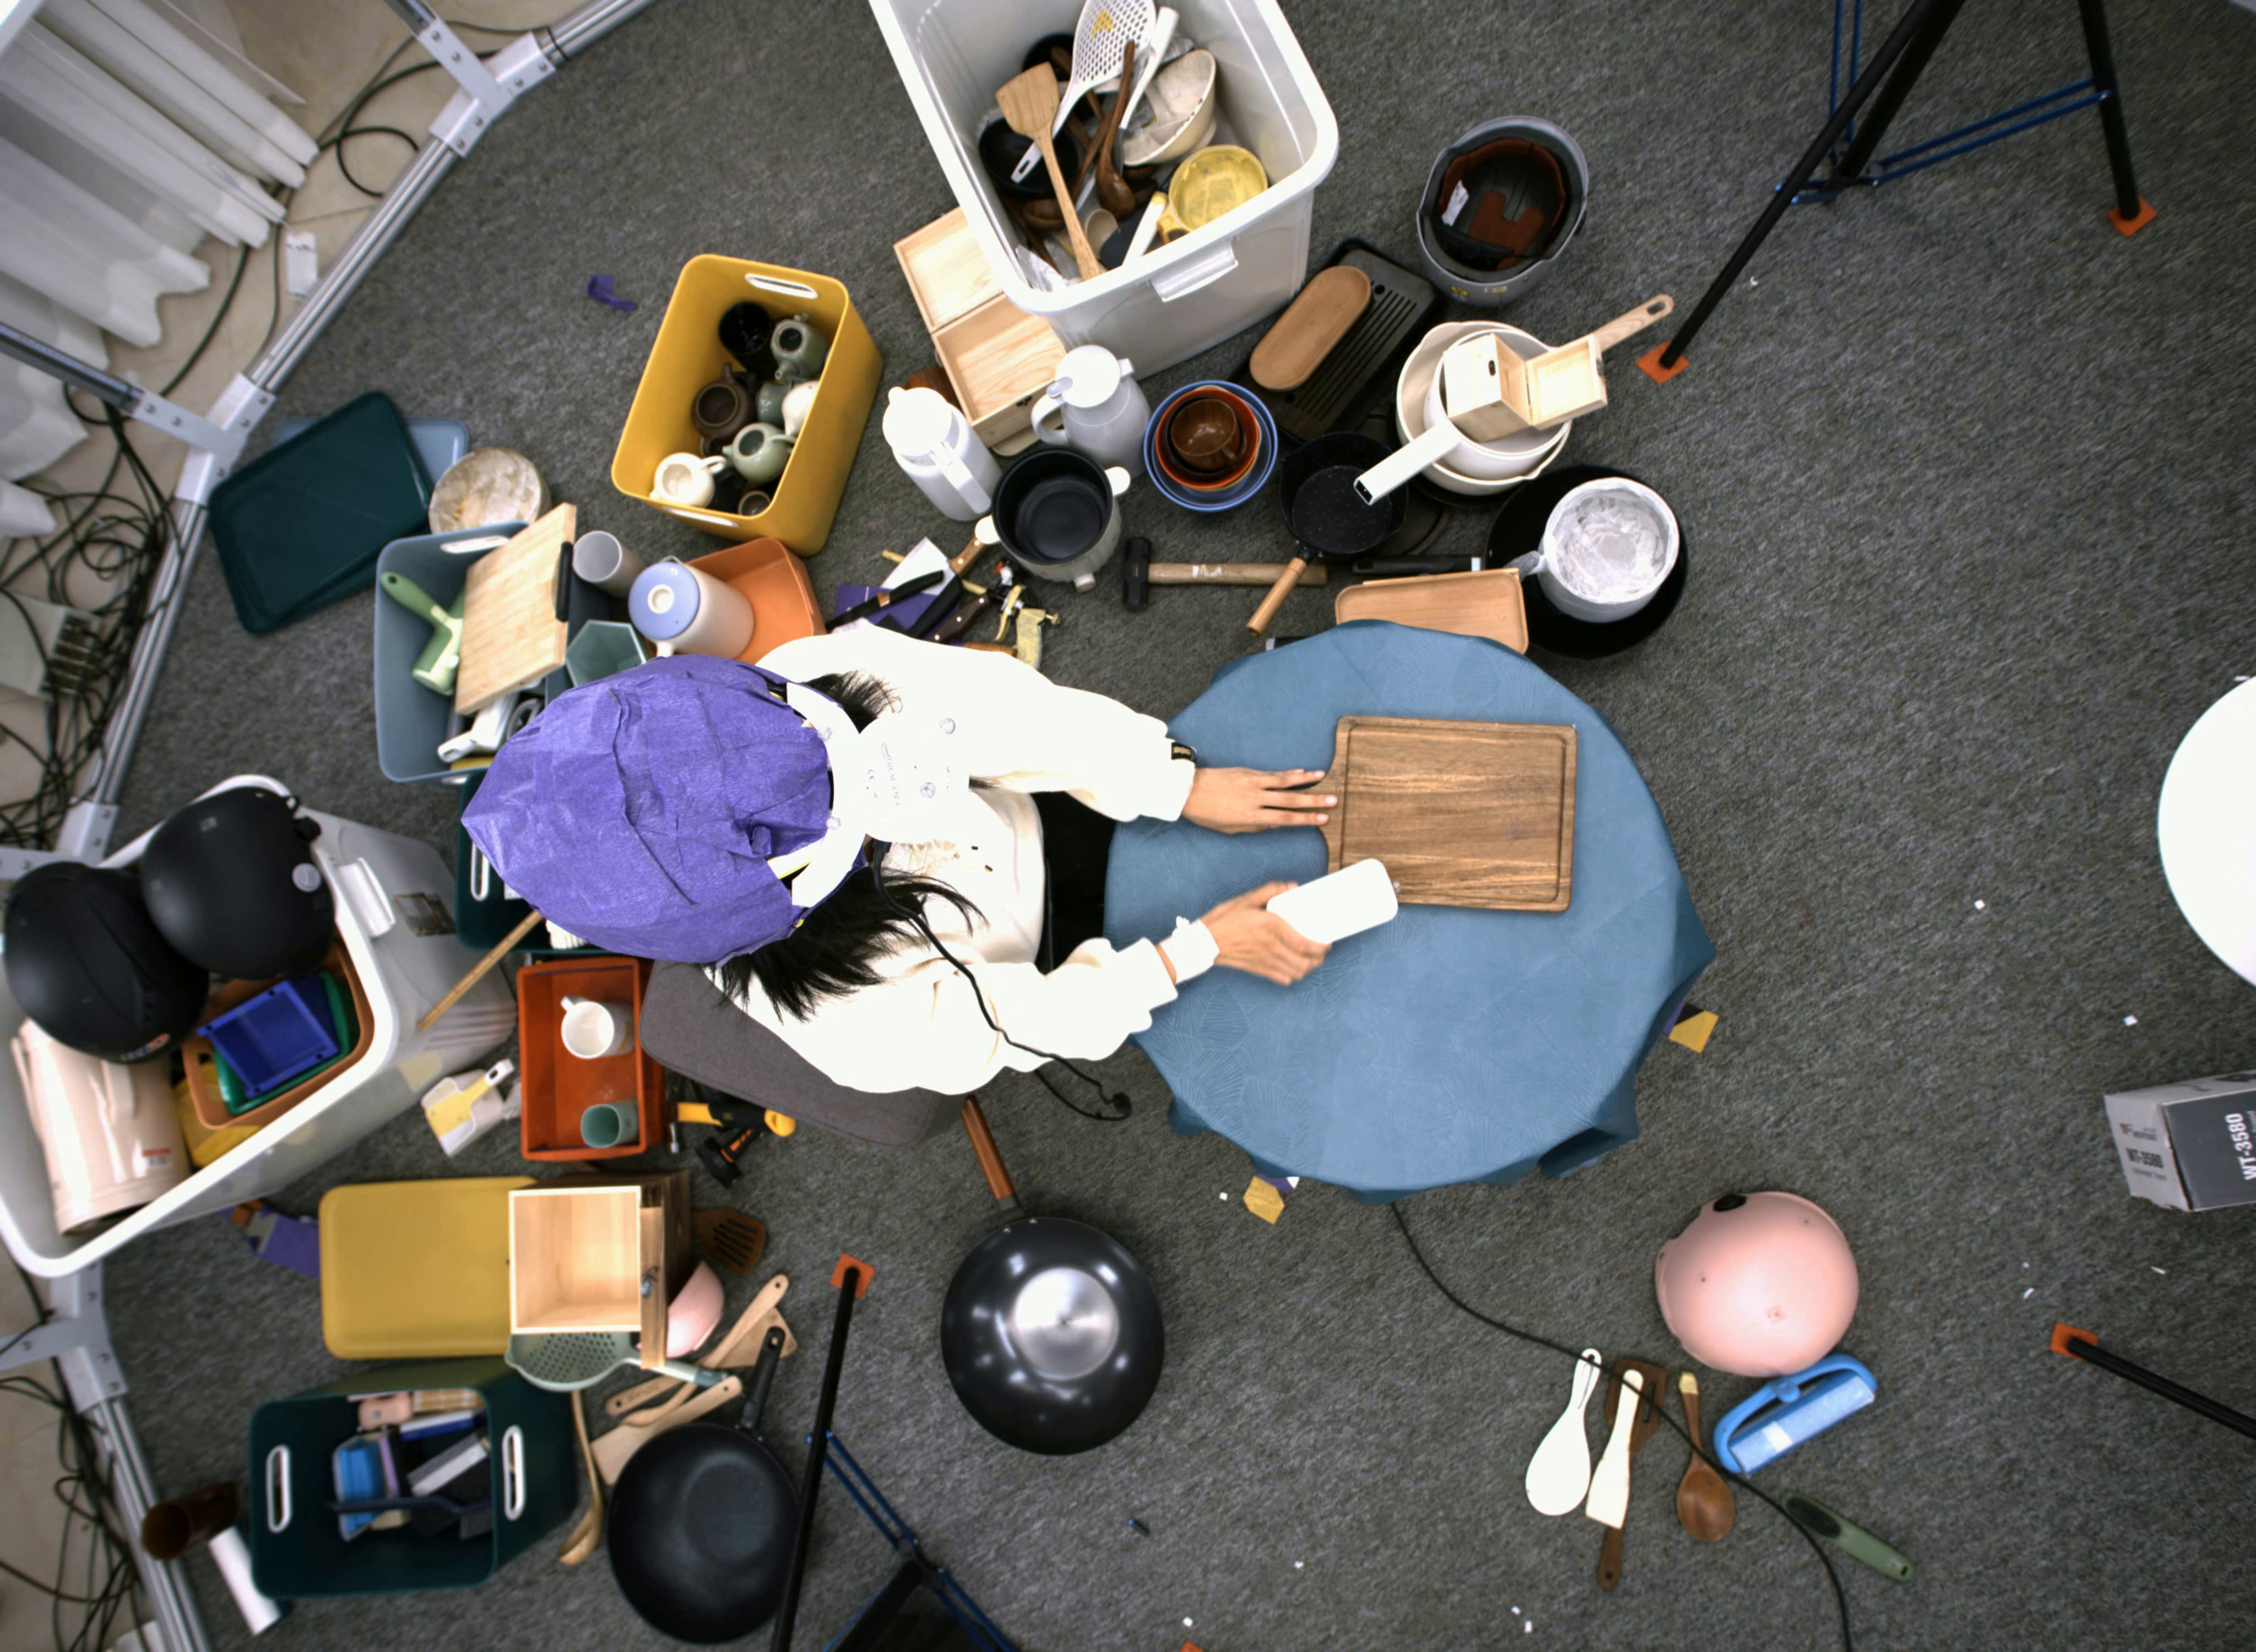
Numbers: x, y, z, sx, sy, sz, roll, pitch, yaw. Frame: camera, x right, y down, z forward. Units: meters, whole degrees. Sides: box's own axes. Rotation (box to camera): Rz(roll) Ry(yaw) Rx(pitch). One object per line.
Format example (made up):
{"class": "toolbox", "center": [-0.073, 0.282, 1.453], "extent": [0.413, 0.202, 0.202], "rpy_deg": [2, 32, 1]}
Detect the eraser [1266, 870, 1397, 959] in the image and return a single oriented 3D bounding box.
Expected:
{"class": "eraser", "center": [0.209, 0.089, 1.423], "extent": [0.132, 0.034, 0.063], "rpy_deg": [-20, 88, 16]}

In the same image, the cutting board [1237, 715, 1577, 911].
{"class": "cutting board", "center": [0.291, -0.019, 1.450], "extent": [0.353, 0.023, 0.200], "rpy_deg": [3, 87, 10]}
